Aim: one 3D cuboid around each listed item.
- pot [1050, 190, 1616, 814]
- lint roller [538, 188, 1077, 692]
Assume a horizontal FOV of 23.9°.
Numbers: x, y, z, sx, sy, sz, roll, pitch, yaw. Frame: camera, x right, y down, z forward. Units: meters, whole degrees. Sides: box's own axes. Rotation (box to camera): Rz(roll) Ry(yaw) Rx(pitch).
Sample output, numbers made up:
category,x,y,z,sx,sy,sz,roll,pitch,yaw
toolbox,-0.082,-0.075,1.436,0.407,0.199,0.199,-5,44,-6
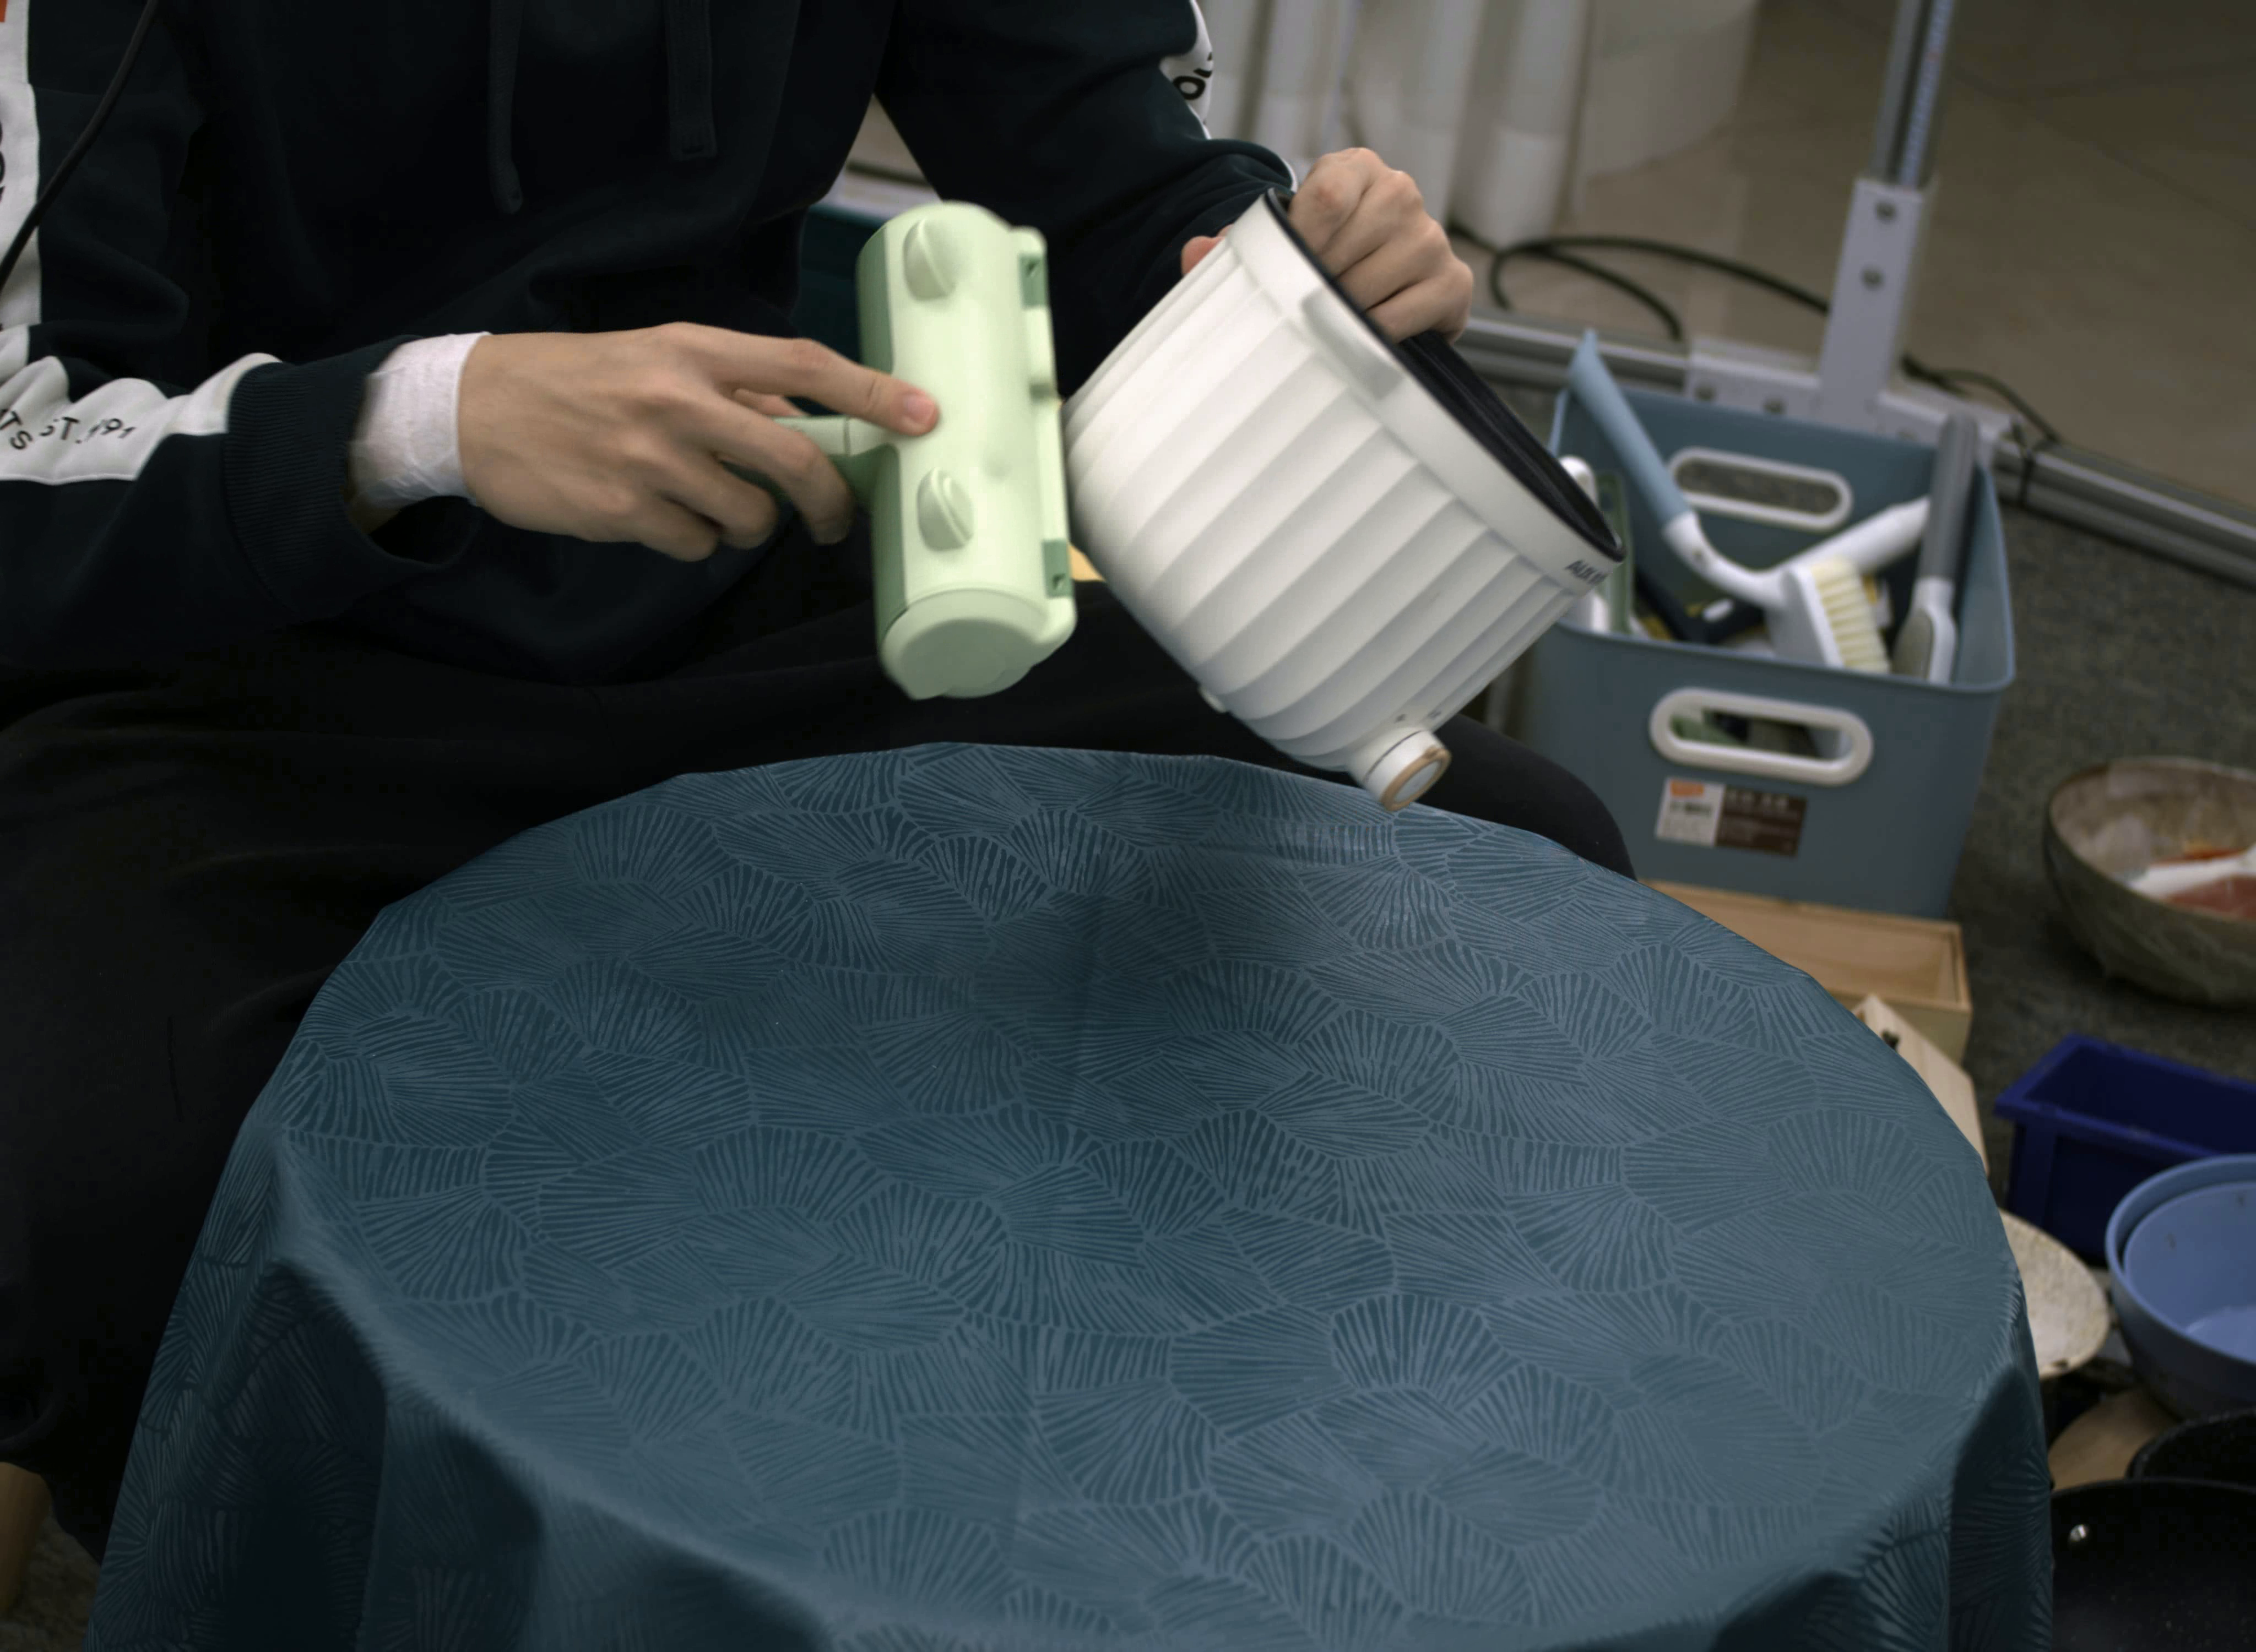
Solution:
category,x,y,z,sx,sy,sz,roll,pitch,yaw
pot,0.066,-0.110,1.886,0.191,0.142,0.239,46,11,19
lint roller,-0.113,-0.139,1.840,0.182,0.082,0.200,-1,52,-4
